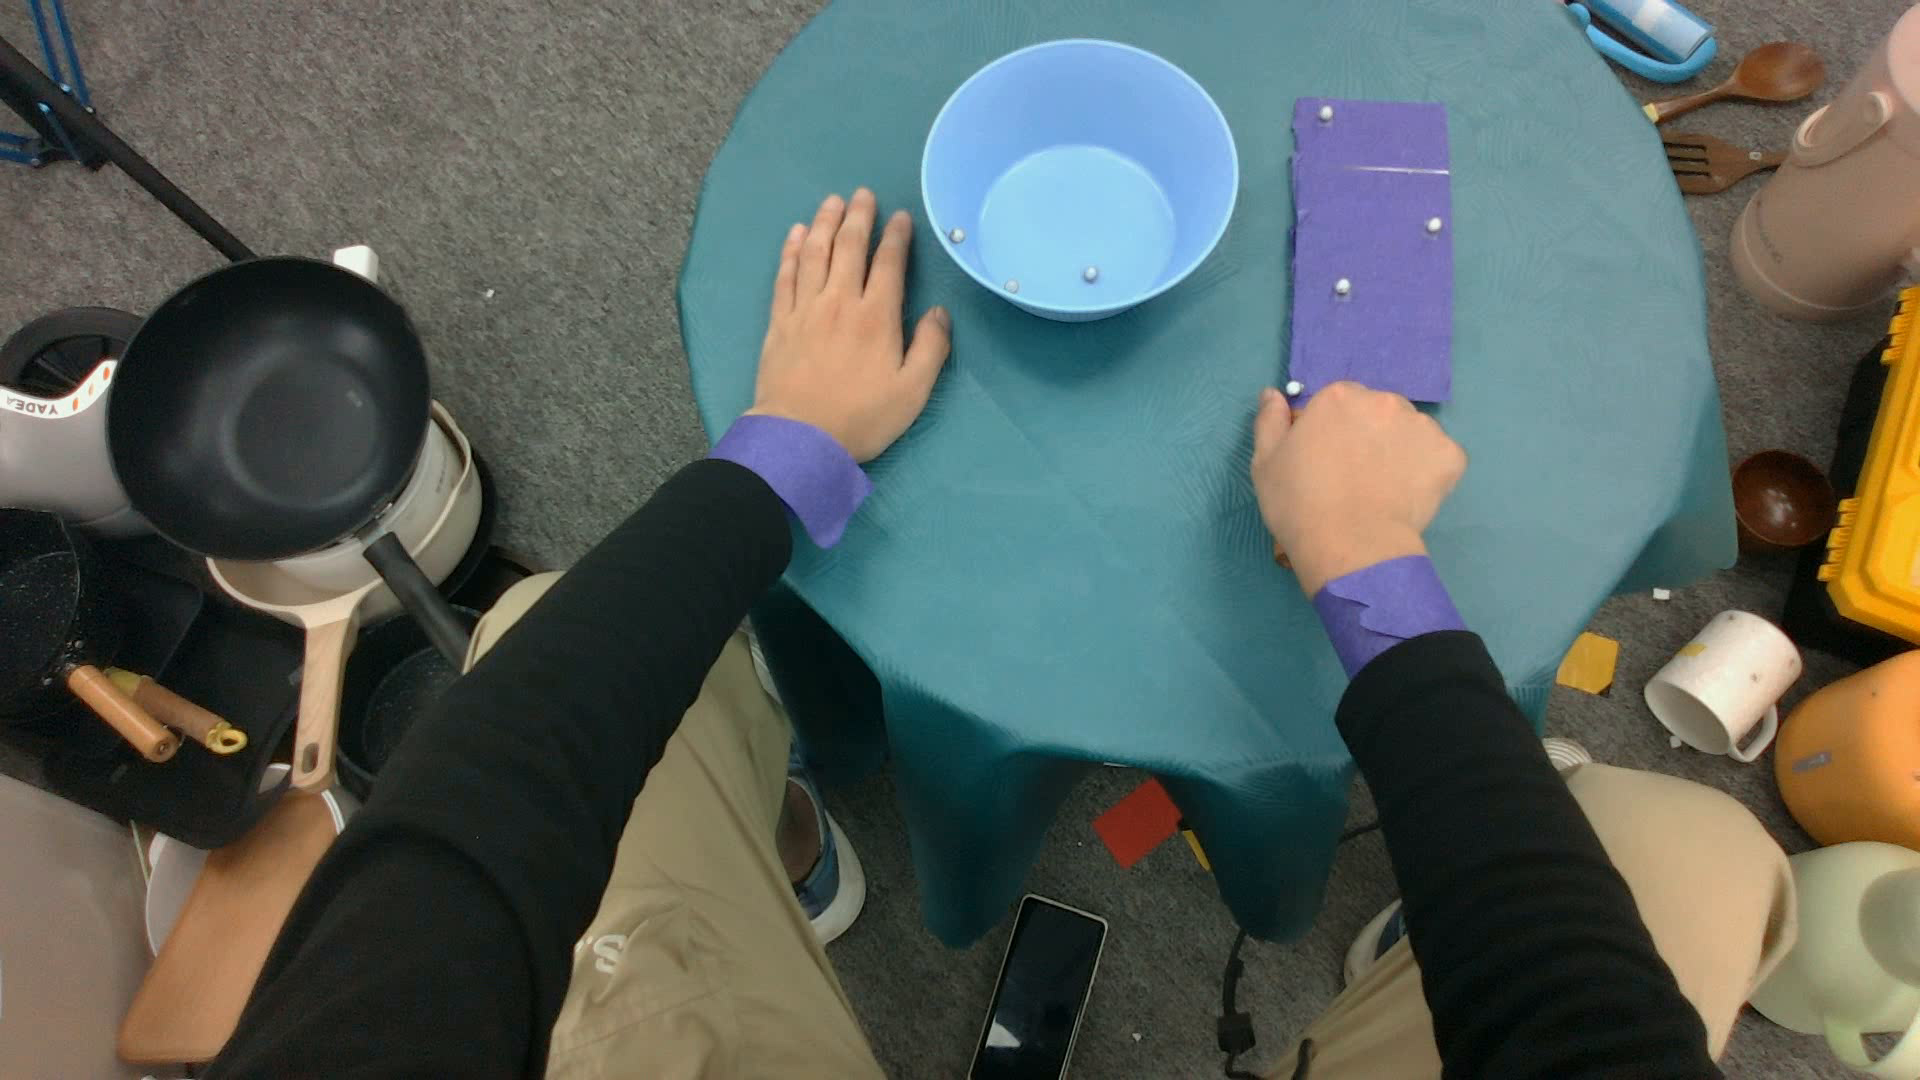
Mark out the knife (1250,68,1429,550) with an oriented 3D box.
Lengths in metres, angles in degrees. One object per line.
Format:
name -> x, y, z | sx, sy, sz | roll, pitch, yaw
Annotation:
knife -> 0.218, -0.144, 0.792 | 0.104, 0.032, 0.316 | 4, 70, 3

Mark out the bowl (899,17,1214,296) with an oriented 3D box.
bowl -> 0.056, -0.209, 0.797 | 0.176, 0.070, 0.176 | -1, 72, 3
